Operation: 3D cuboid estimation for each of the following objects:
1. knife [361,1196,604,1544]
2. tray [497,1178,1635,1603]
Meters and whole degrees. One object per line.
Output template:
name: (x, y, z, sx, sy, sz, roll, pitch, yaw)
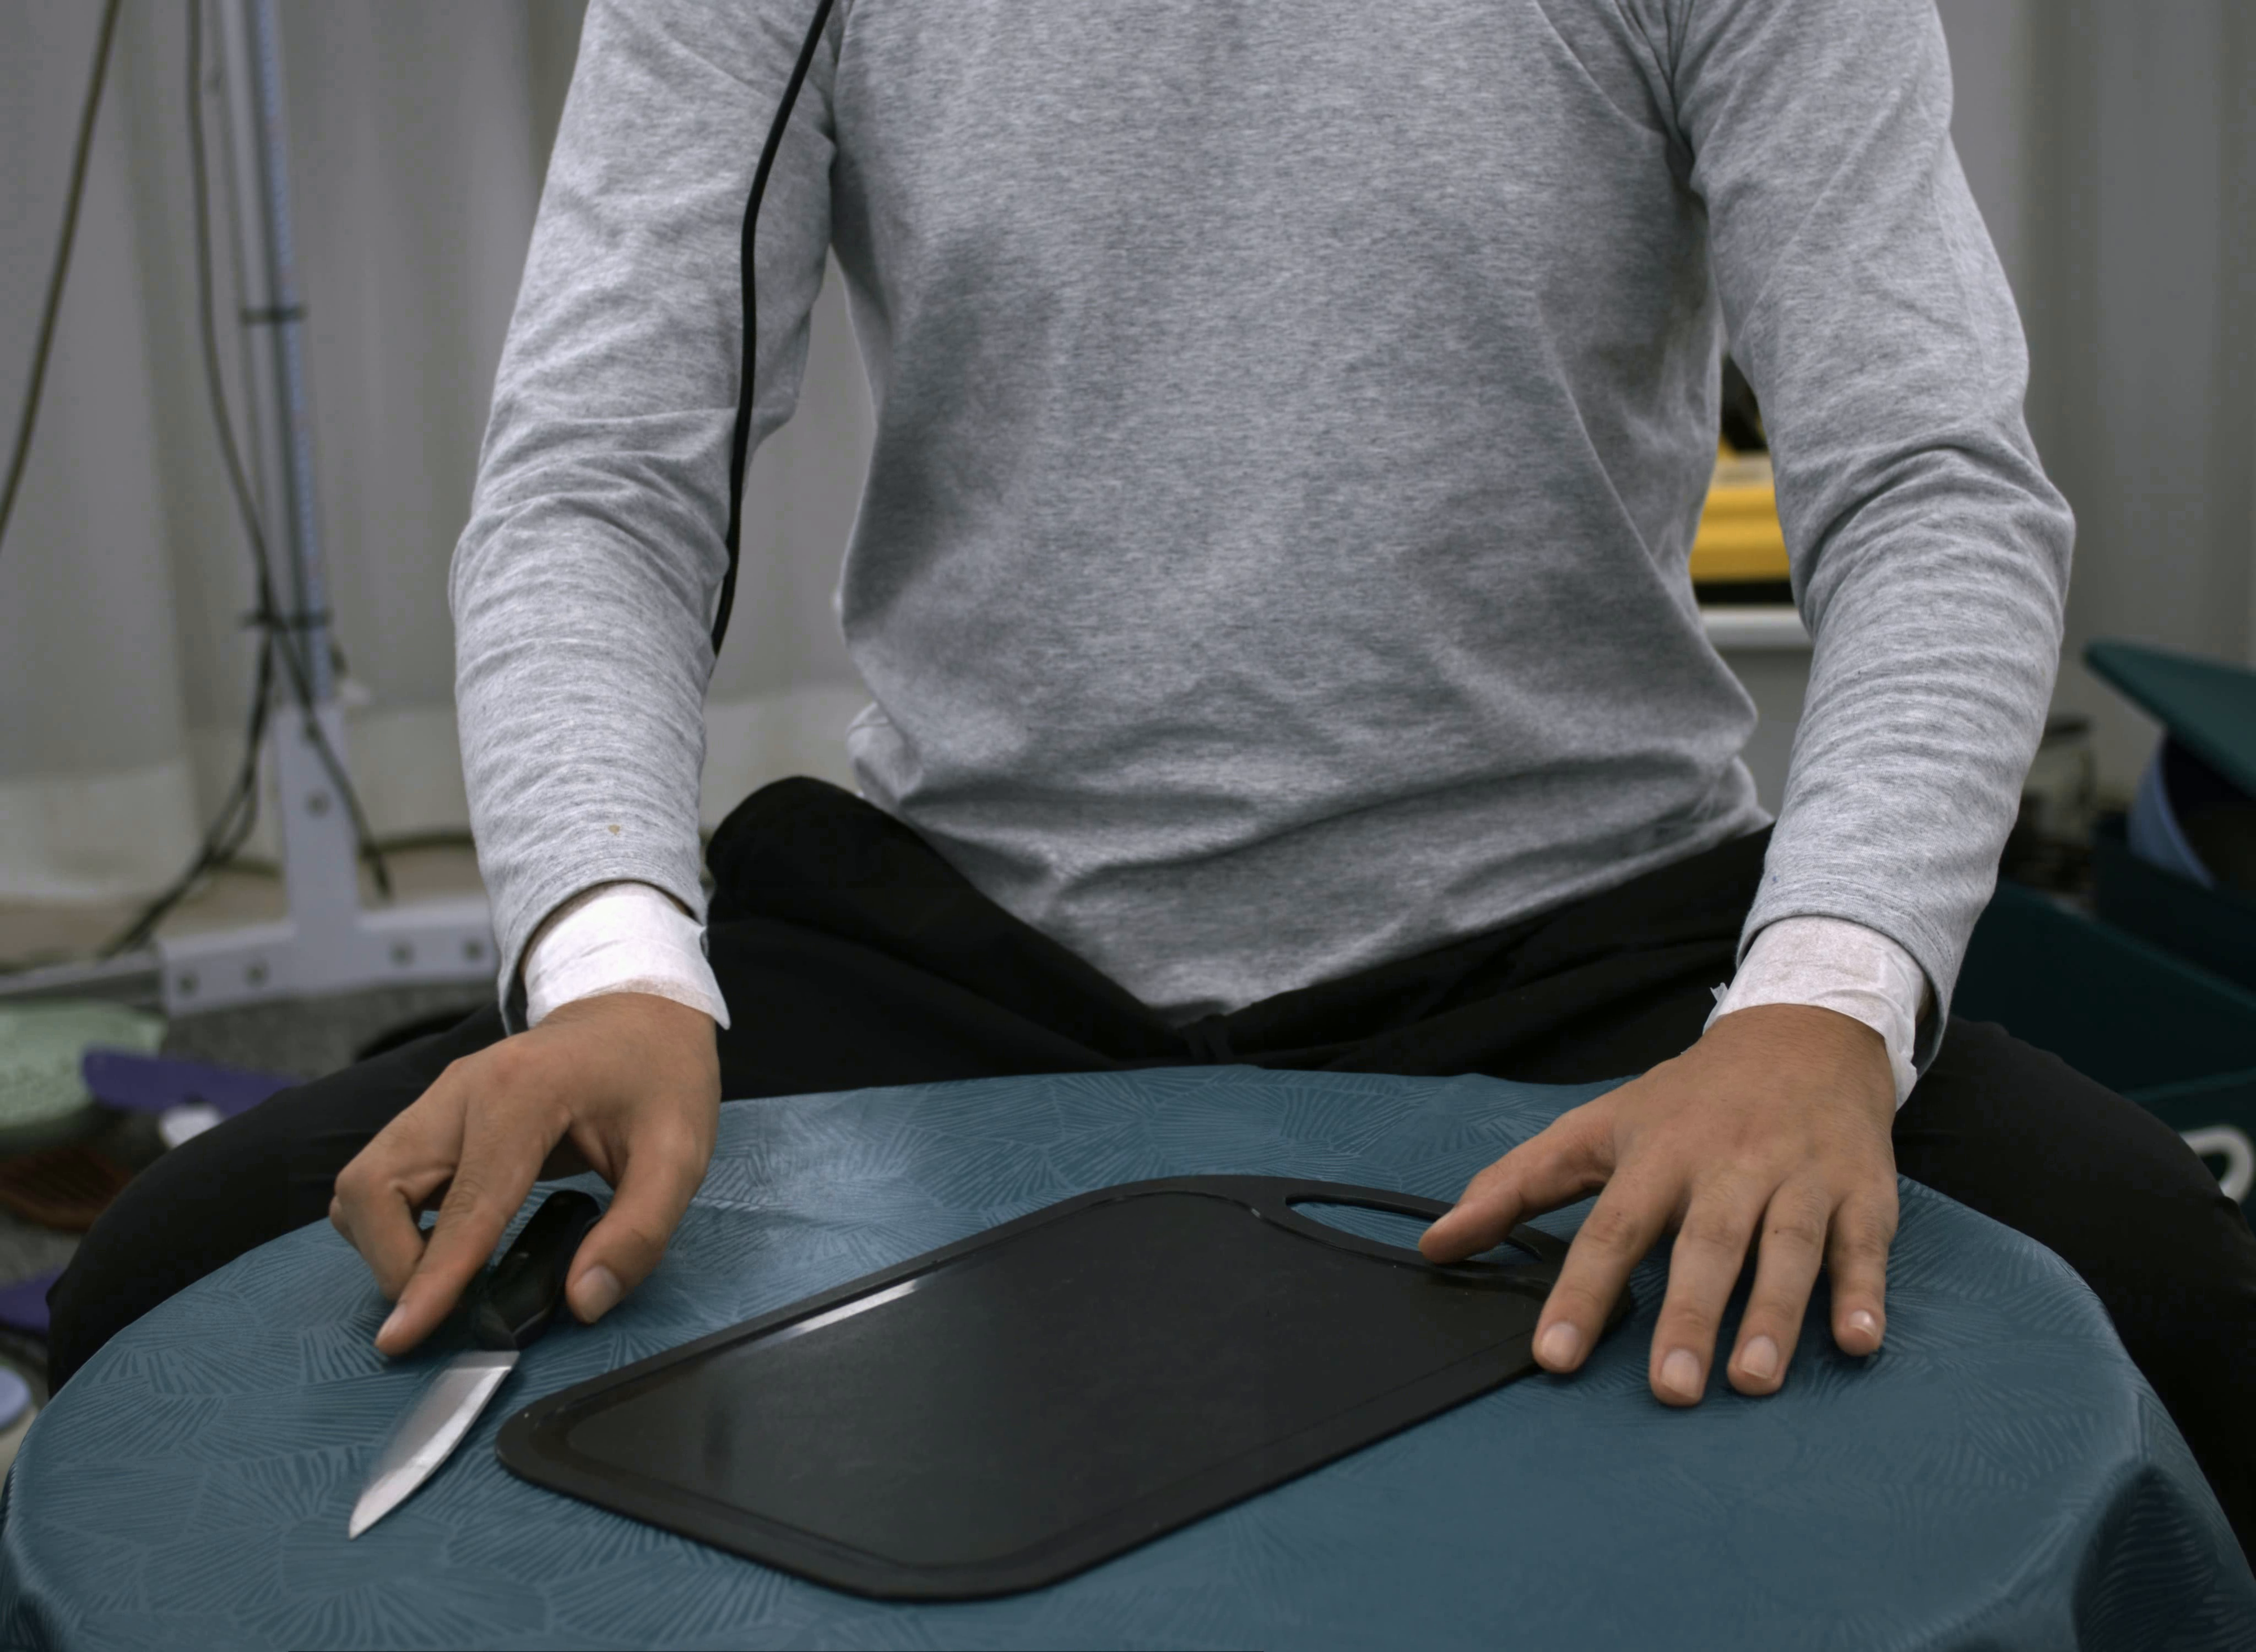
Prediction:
knife: (-0.189, 0.156, 1.576, 0.024, 0.016, 0.240, -3, 17, 10)
tray: (-0.009, 0.152, 1.567, 0.212, 0.010, 0.325, 12, 20, 43)
